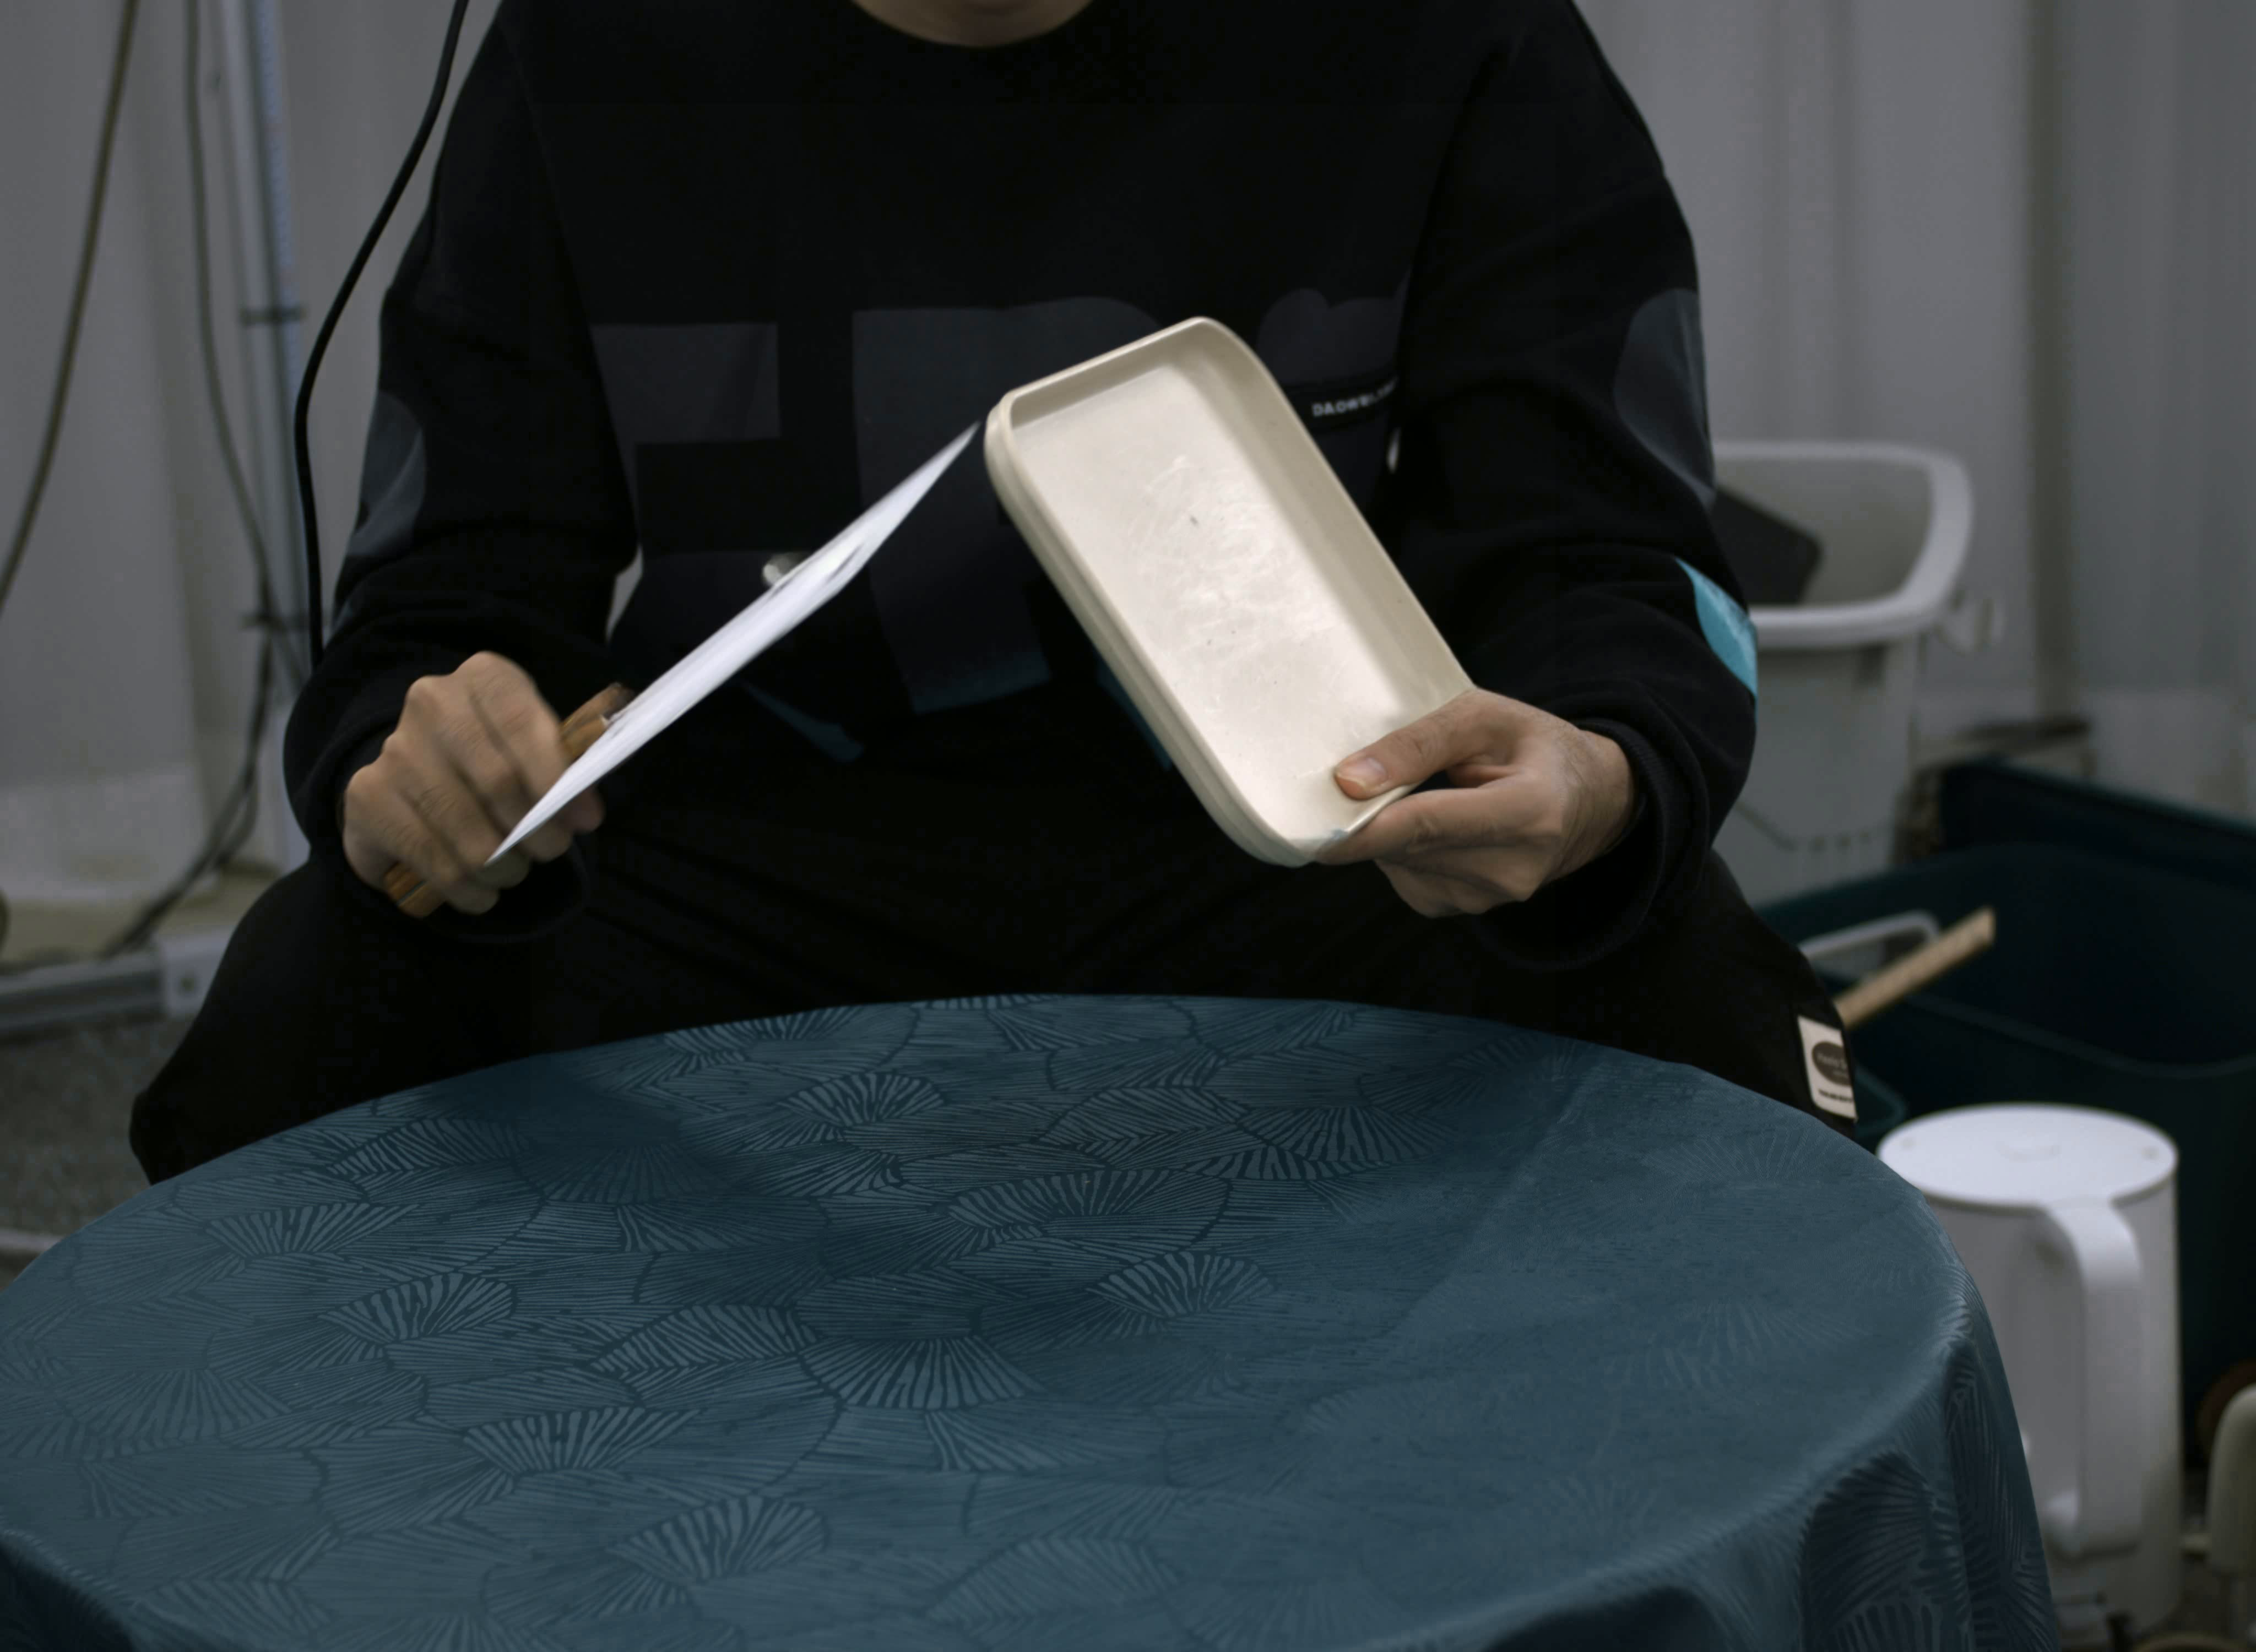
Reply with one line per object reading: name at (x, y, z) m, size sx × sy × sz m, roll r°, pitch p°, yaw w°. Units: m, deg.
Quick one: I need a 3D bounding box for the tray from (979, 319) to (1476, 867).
tray at (0.033, -0.075, 1.734) m, size 0.017 × 0.171 × 0.240 m, roll -35°, pitch -1°, yaw 22°

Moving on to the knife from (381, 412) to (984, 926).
knife at (-0.153, -0.035, 1.714) m, size 0.304 × 0.021 × 0.094 m, roll -36°, pitch 12°, yaw 38°
